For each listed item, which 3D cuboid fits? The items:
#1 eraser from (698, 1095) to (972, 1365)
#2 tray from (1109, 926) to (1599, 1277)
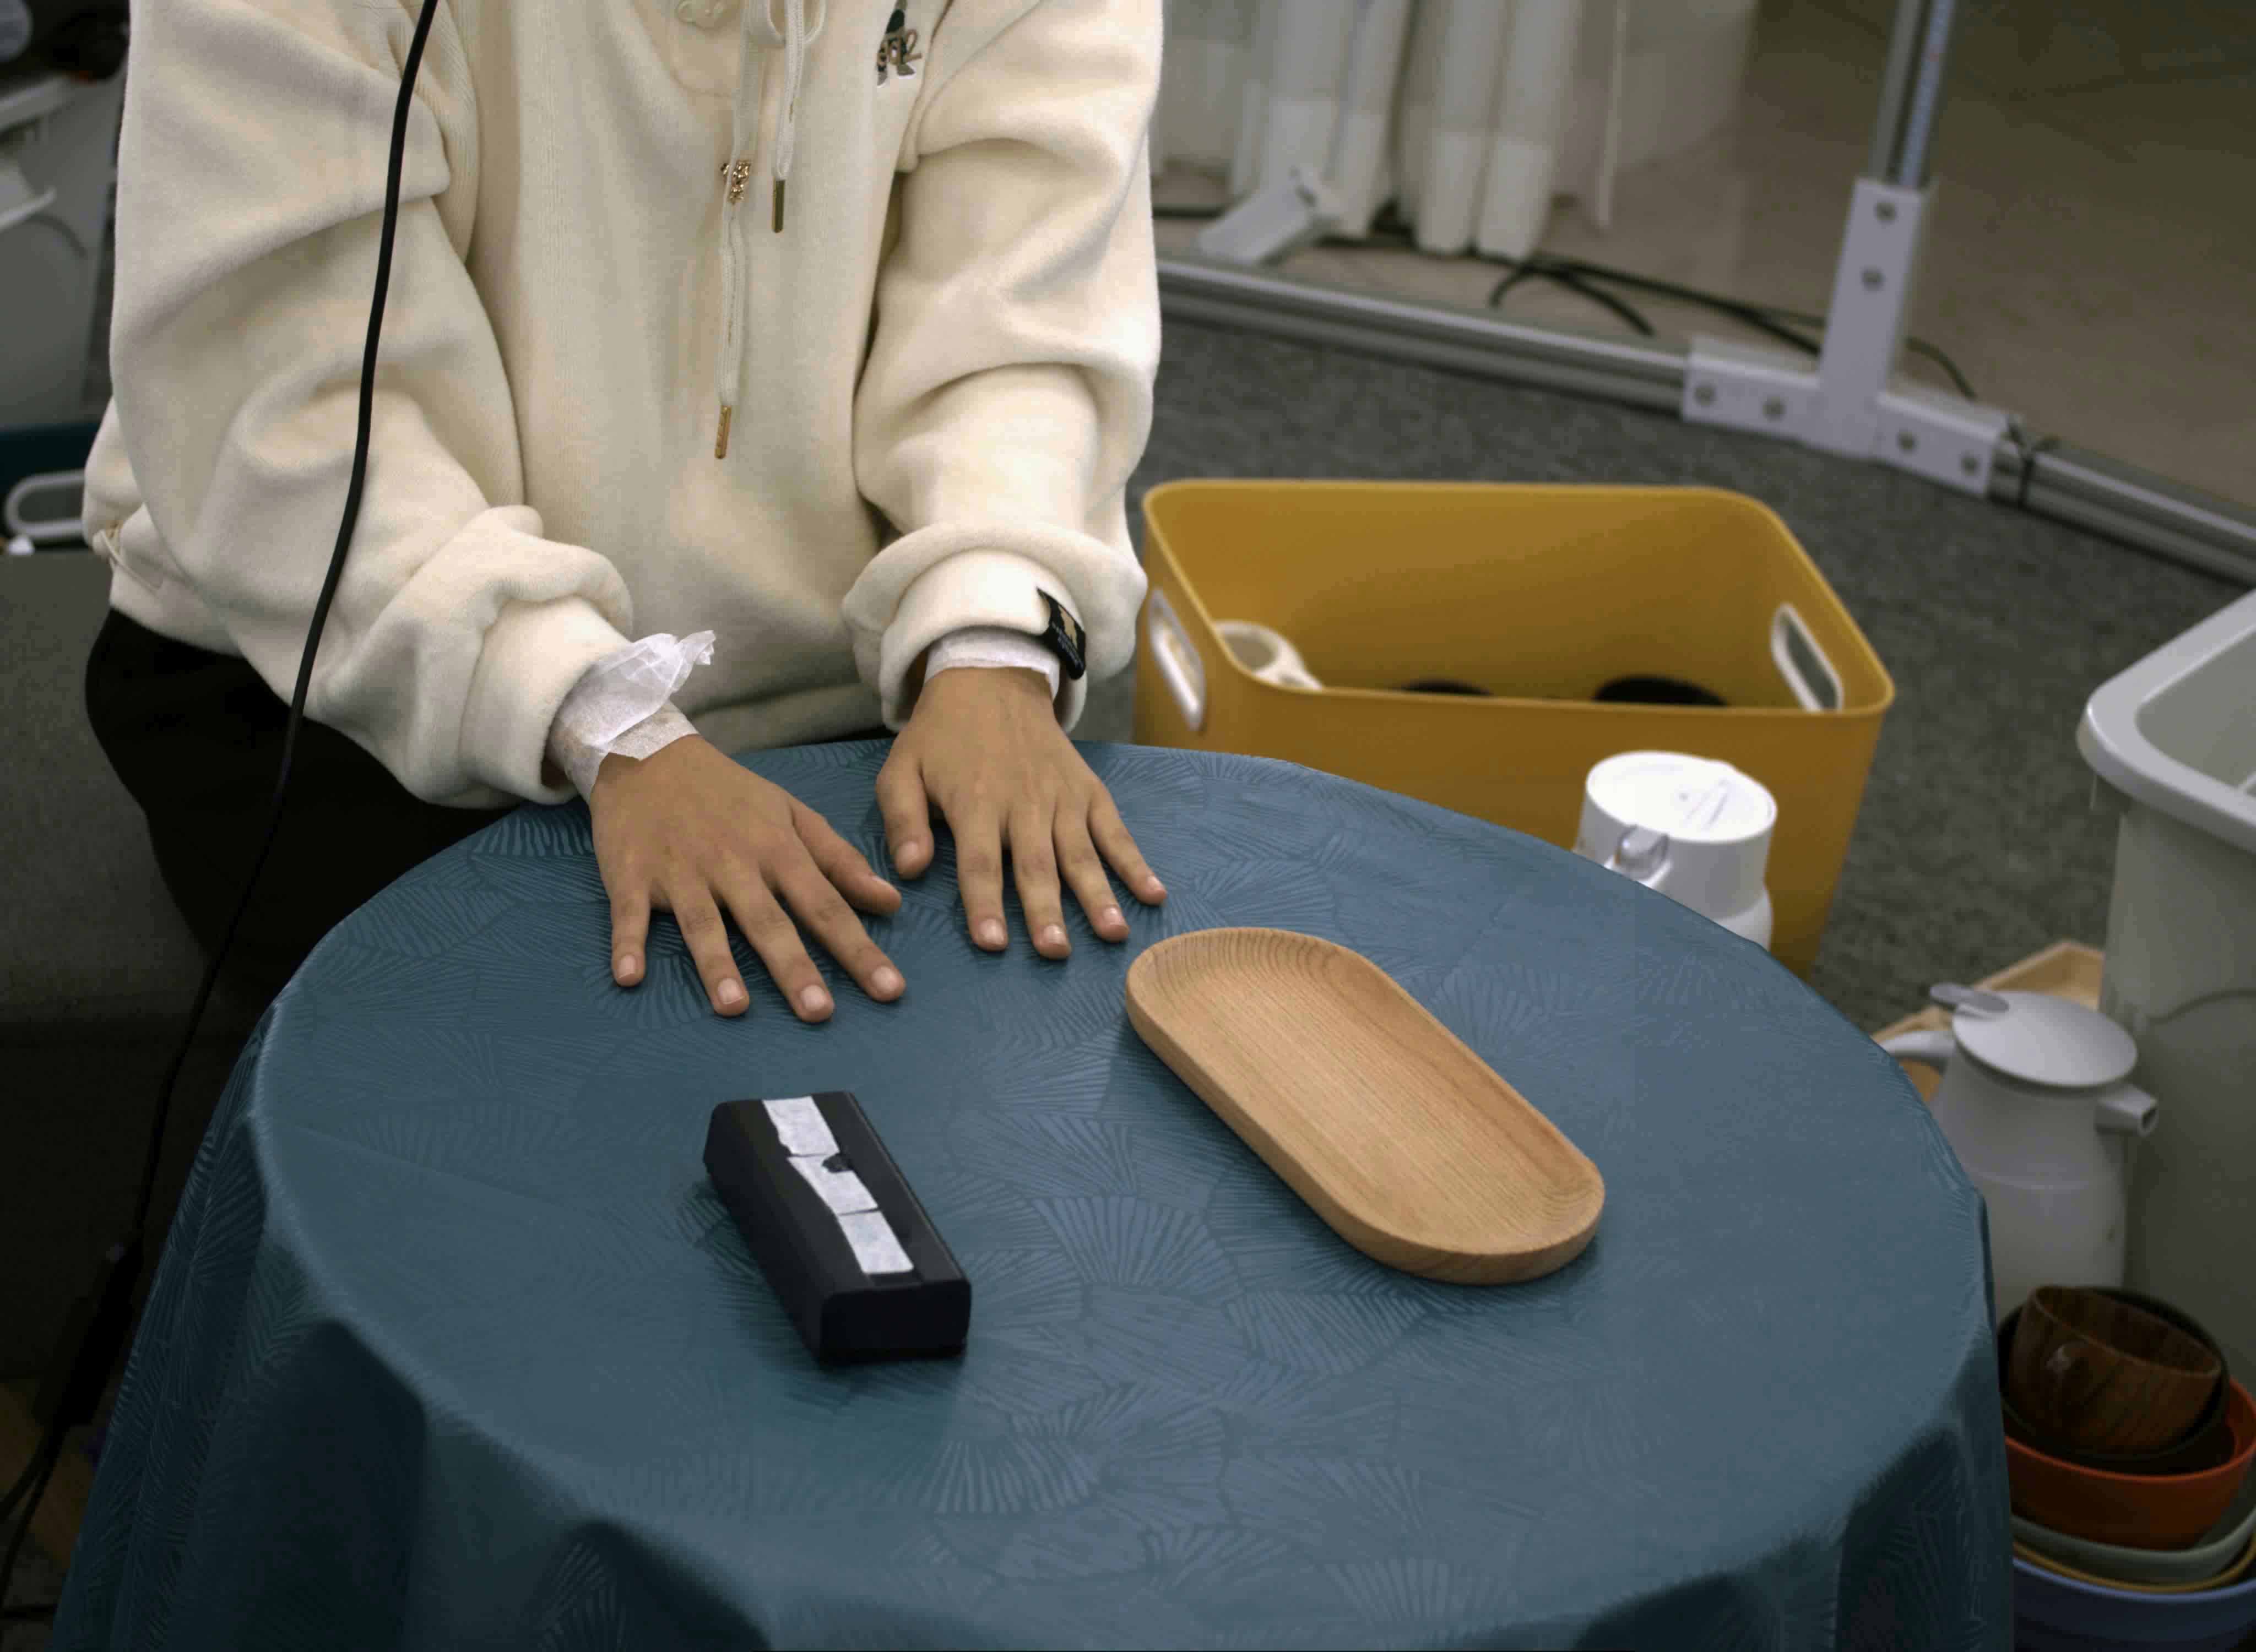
[{"bbox_3d":[-0.096,0.131,1.733,0.053,0.030,0.126,1,28,-25],"label":"eraser"},{"bbox_3d":[0.076,0.094,1.860,0.101,0.020,0.233,-9,29,-29],"label":"tray"}]
